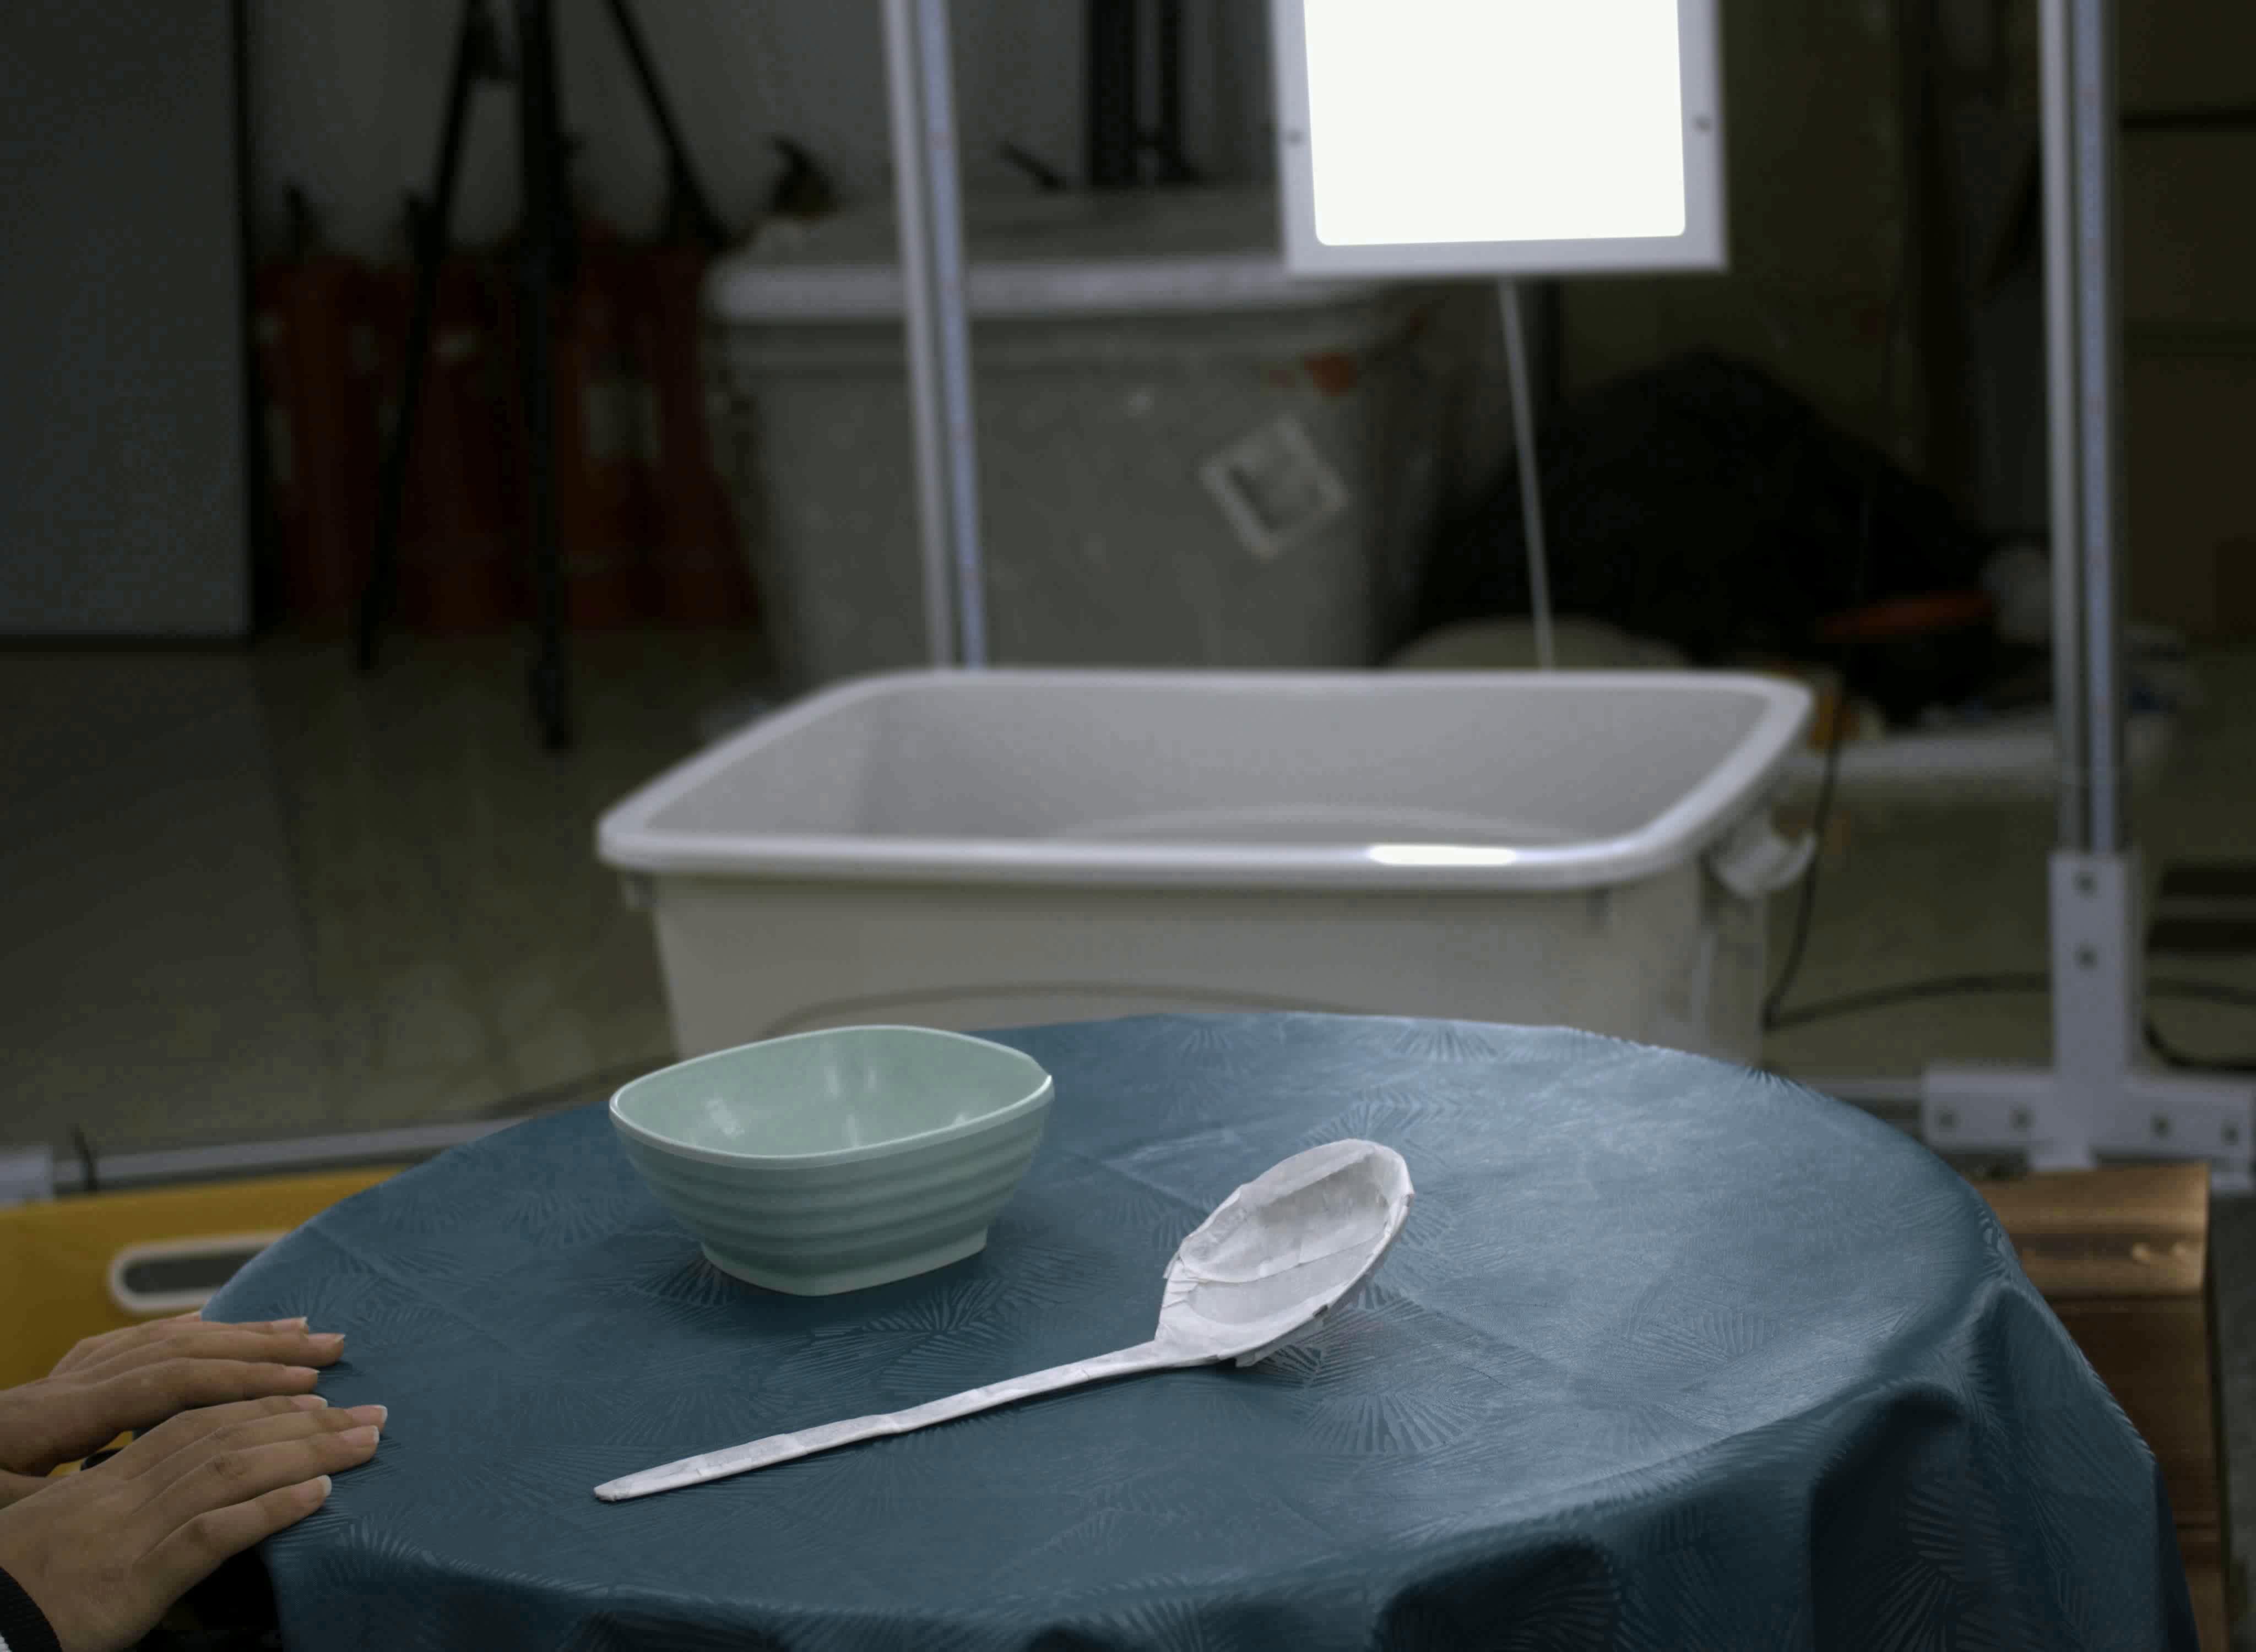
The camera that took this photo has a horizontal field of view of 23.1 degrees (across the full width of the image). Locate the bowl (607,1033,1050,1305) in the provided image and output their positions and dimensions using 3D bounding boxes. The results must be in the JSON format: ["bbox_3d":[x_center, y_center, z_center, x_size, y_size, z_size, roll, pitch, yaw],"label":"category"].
[{"bbox_3d":[-0.099,0.118,1.858,0.151,0.059,0.151,-5,14,0],"label":"bowl"}]

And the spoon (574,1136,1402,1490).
[{"bbox_3d":[-0.044,0.149,1.704,0.272,0.059,0.102,-10,10,-20],"label":"spoon"}]
